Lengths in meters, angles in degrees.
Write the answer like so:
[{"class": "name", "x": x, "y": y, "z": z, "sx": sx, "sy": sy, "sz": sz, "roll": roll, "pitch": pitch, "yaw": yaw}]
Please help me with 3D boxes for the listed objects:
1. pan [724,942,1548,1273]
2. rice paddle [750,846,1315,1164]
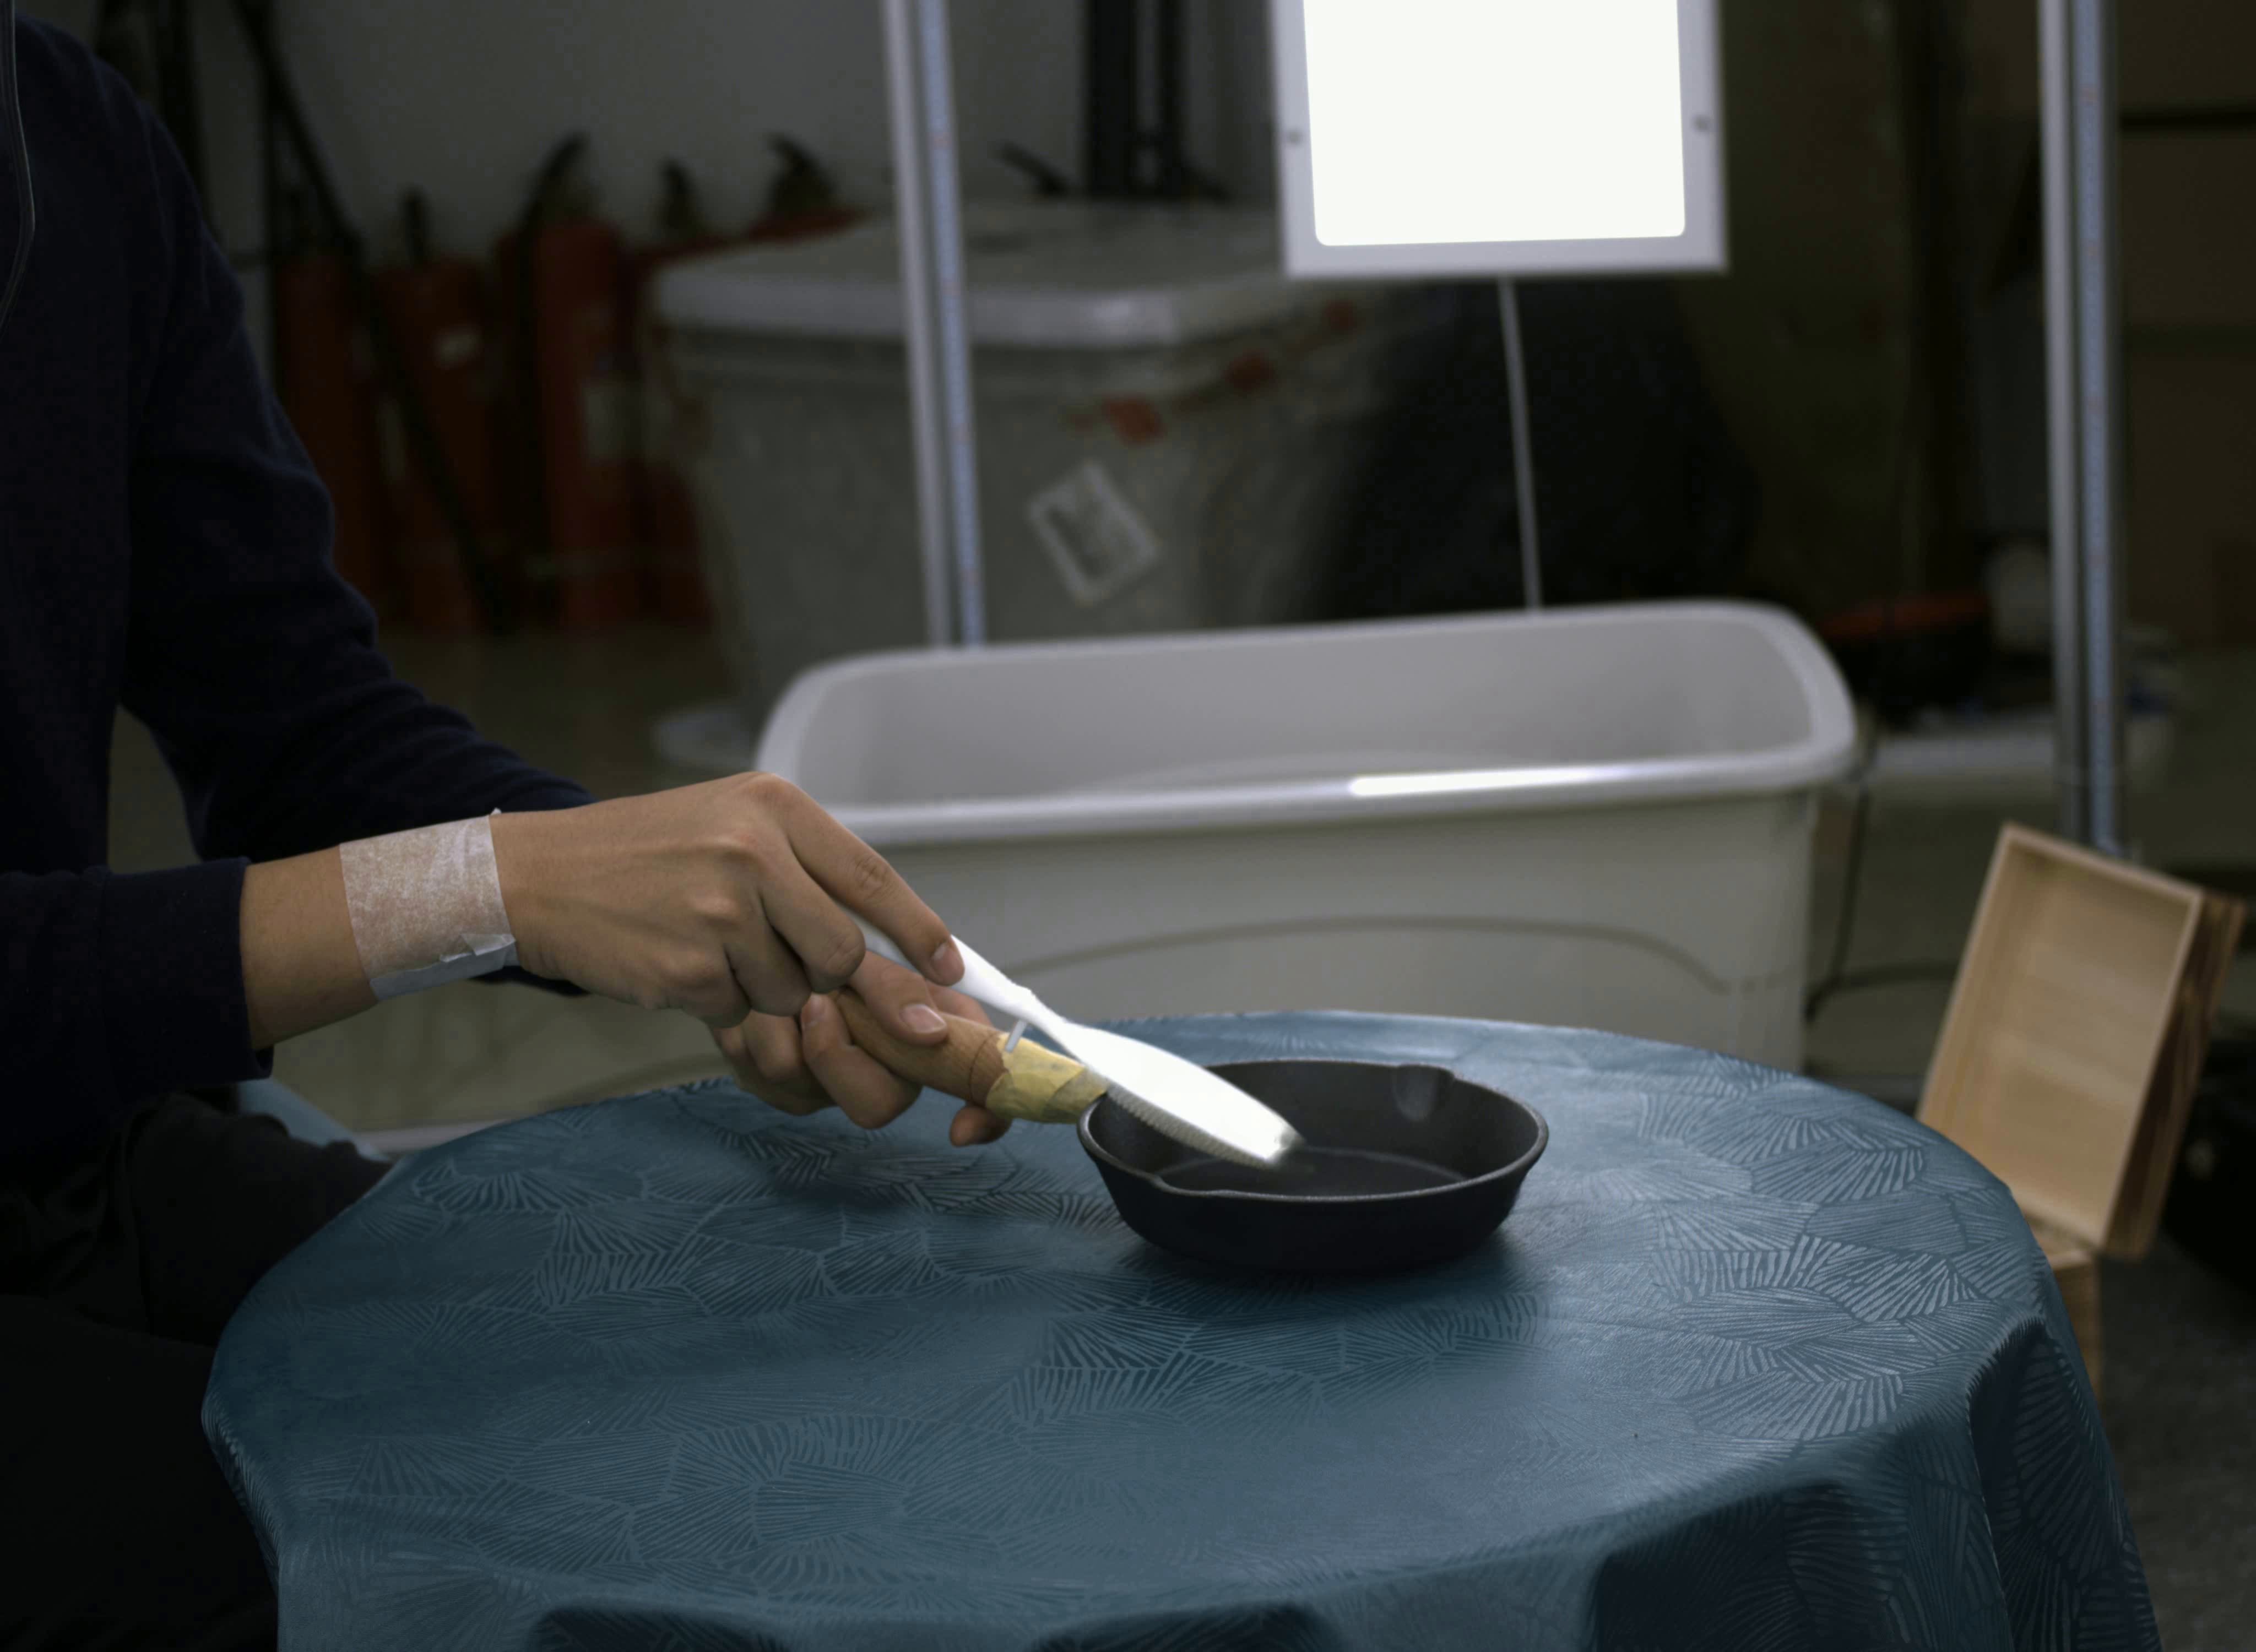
[{"class": "pan", "x": -0.007, "y": 0.092, "z": 1.878, "sx": 0.330, "sy": 0.050, "sz": 0.165, "roll": 12, "pitch": 19, "yaw": 35}, {"class": "rice paddle", "x": -0.028, "y": 0.063, "z": 1.834, "sx": 0.204, "sy": 0.030, "sz": 0.068, "roll": 26, "pitch": 14, "yaw": -3}]
